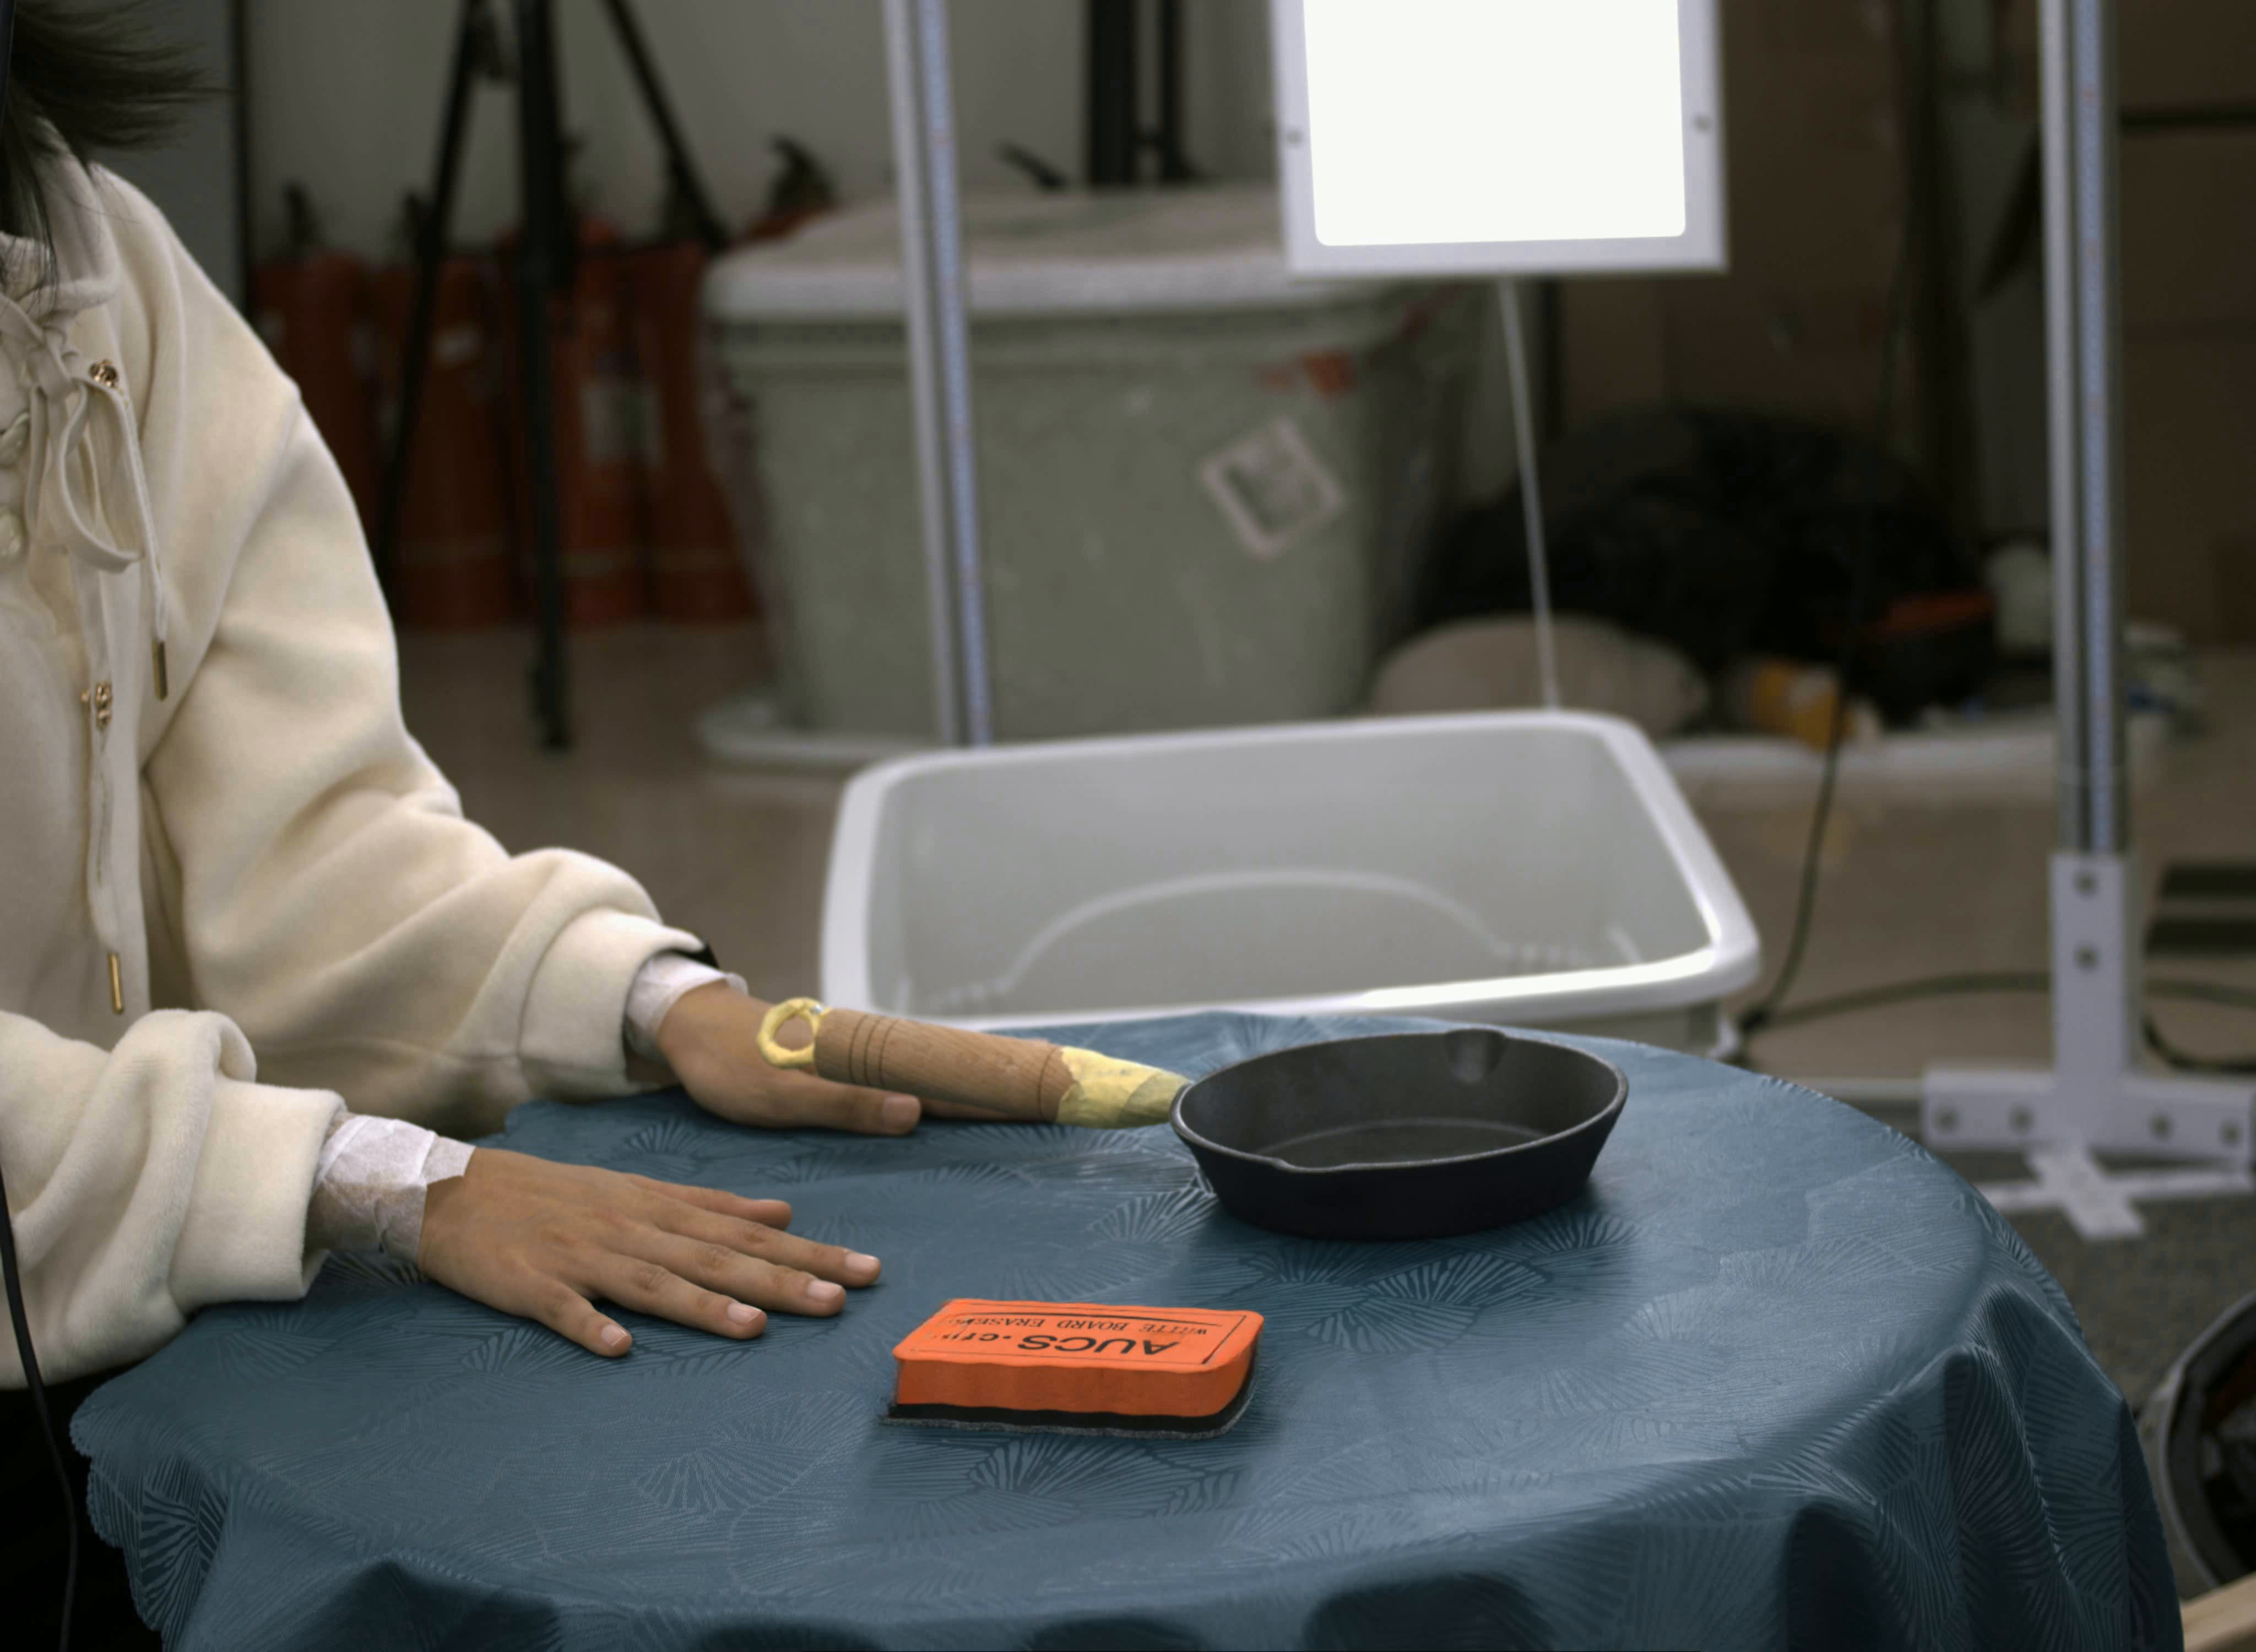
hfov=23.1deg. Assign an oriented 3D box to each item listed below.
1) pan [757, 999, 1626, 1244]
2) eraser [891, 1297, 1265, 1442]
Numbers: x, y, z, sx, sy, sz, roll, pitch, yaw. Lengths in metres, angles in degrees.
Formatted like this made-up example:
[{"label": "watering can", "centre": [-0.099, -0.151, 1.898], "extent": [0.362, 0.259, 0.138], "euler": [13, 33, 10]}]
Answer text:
[{"label": "pan", "centre": [0.016, 0.095, 1.913], "extent": [0.330, 0.050, 0.165], "euler": [4, 17, 28]}, {"label": "eraser", "centre": [-0.015, 0.166, 1.692], "extent": [0.109, 0.023, 0.058], "euler": [1, 15, 23]}]
